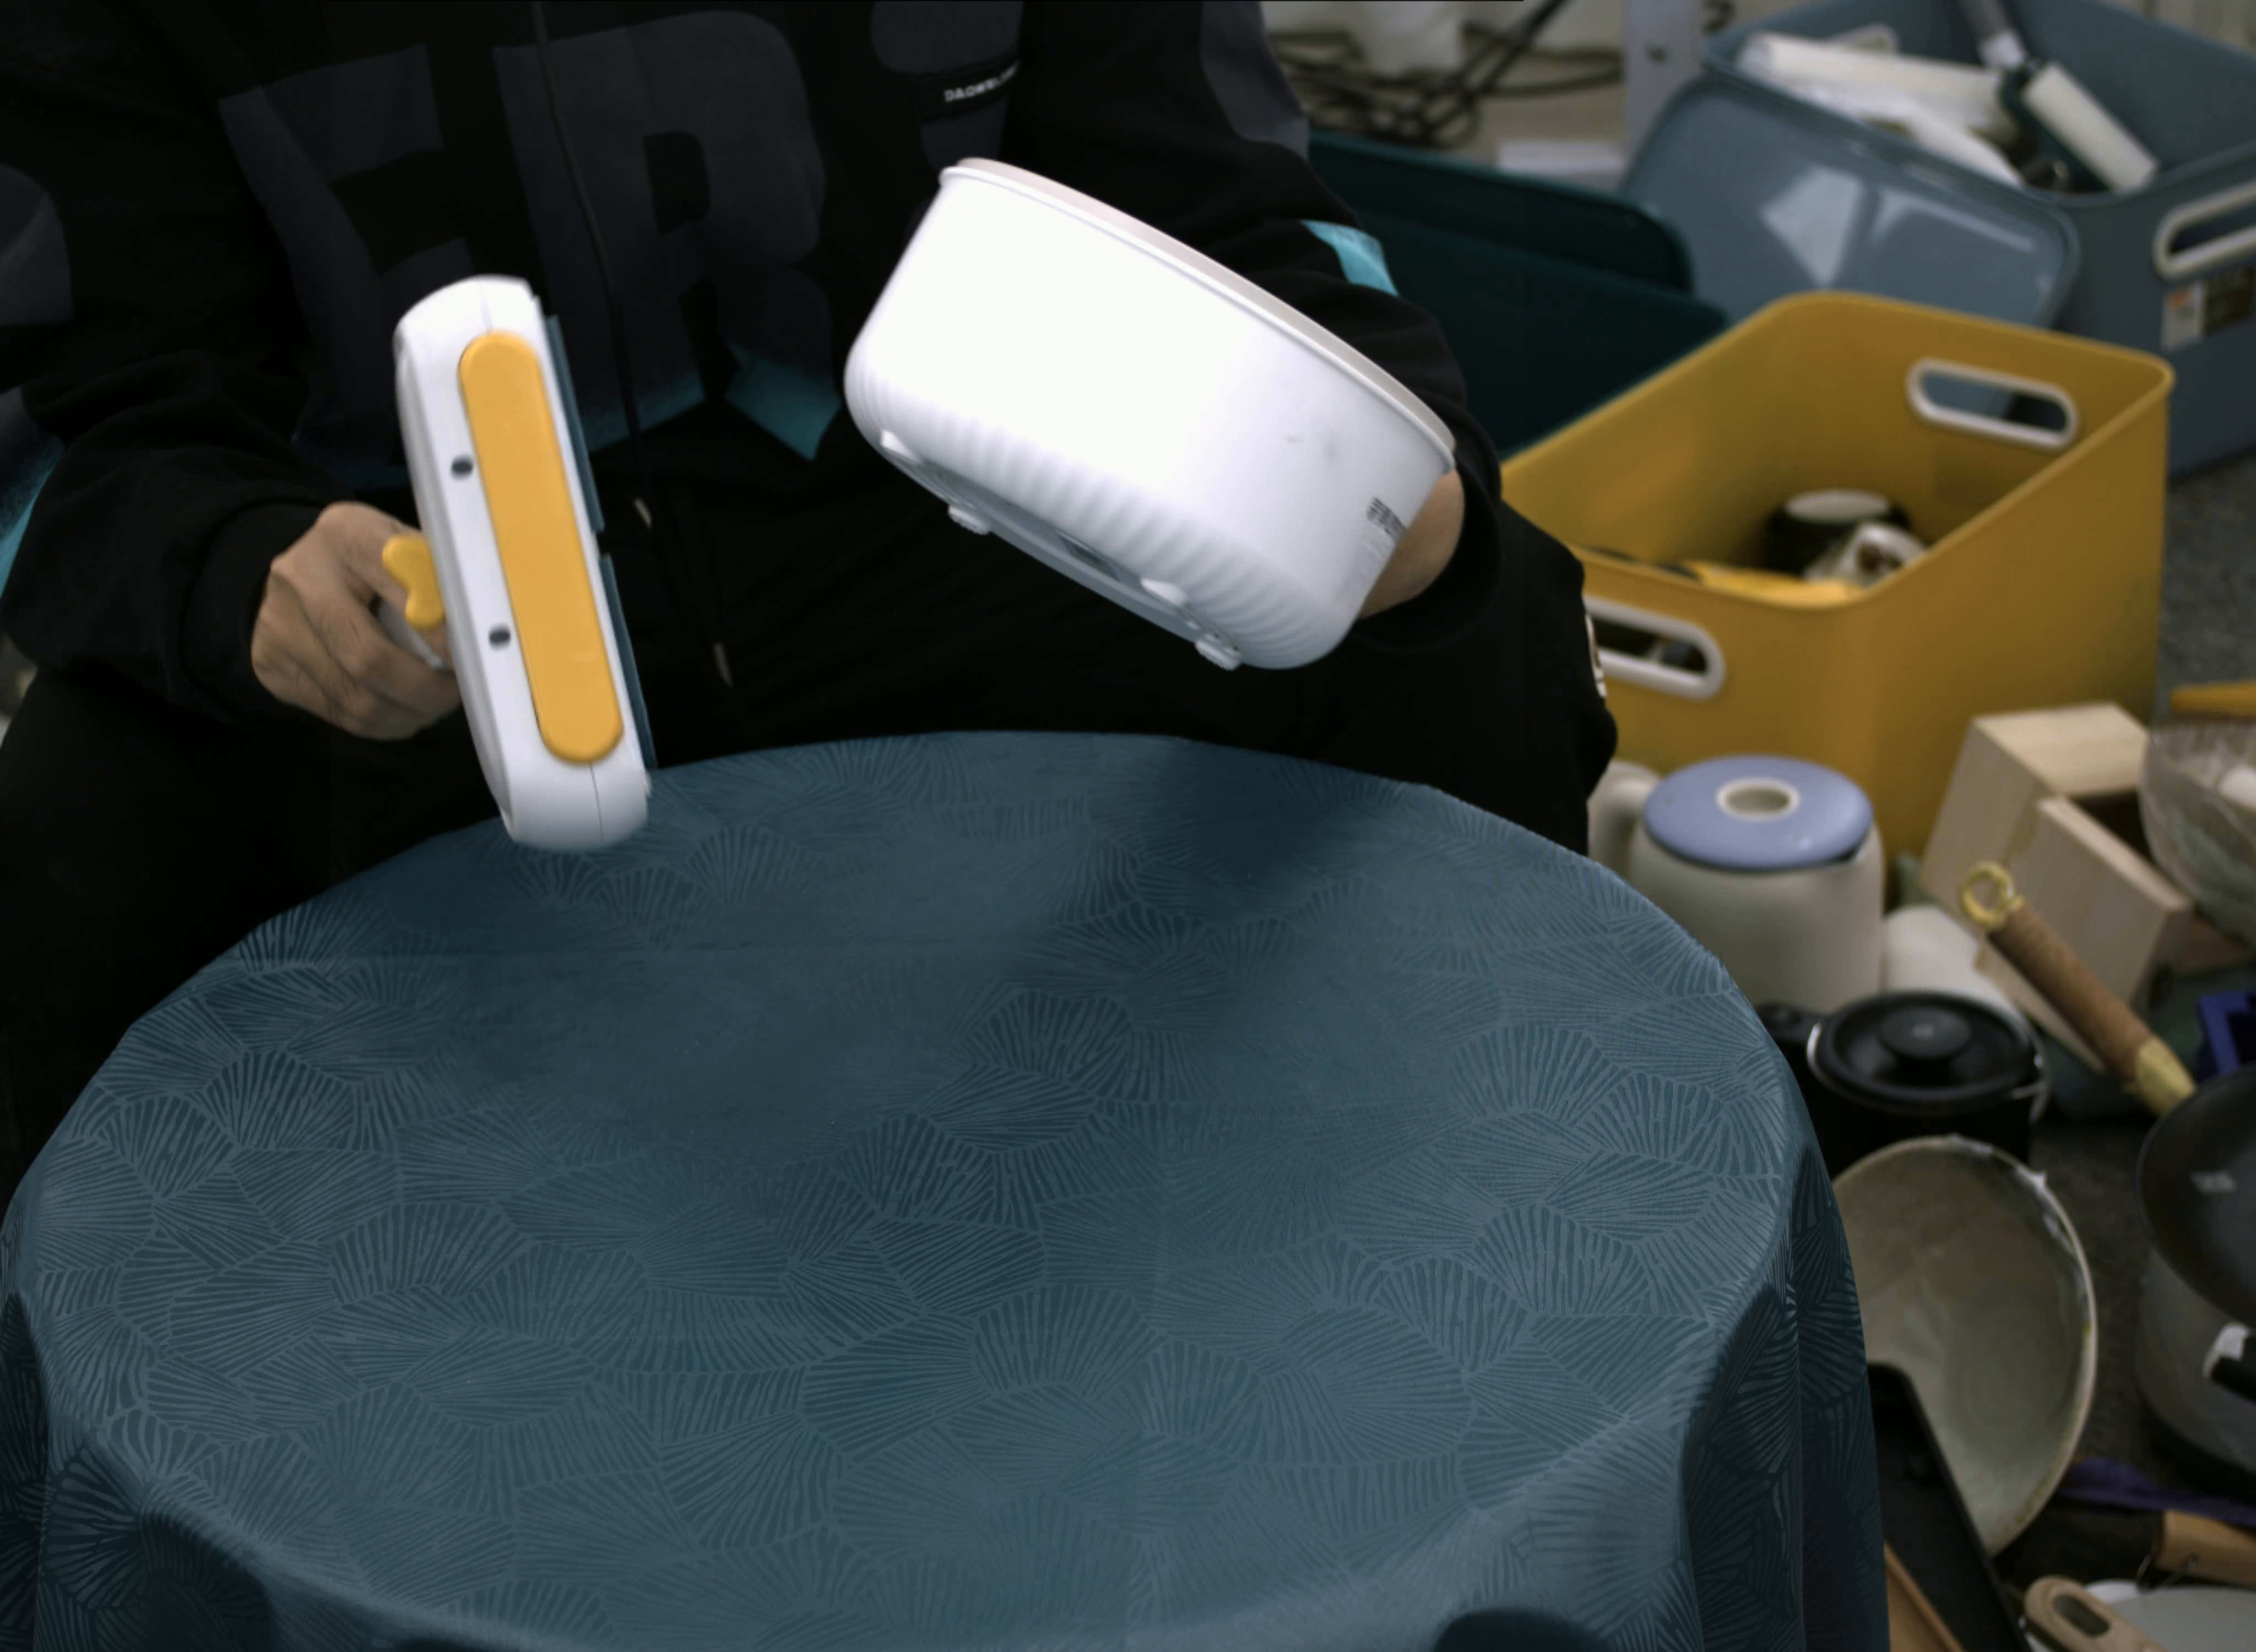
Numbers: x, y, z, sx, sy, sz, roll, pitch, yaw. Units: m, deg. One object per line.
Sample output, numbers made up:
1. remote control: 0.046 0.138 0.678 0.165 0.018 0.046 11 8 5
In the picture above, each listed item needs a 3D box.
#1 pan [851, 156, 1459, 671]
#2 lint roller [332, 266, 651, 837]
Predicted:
1. pan: 0.018 -0.120 1.986 0.201 0.102 0.353 29 -4 14
2. lint roller: -0.226 -0.075 1.911 0.074 0.194 0.190 -17 -8 -21
